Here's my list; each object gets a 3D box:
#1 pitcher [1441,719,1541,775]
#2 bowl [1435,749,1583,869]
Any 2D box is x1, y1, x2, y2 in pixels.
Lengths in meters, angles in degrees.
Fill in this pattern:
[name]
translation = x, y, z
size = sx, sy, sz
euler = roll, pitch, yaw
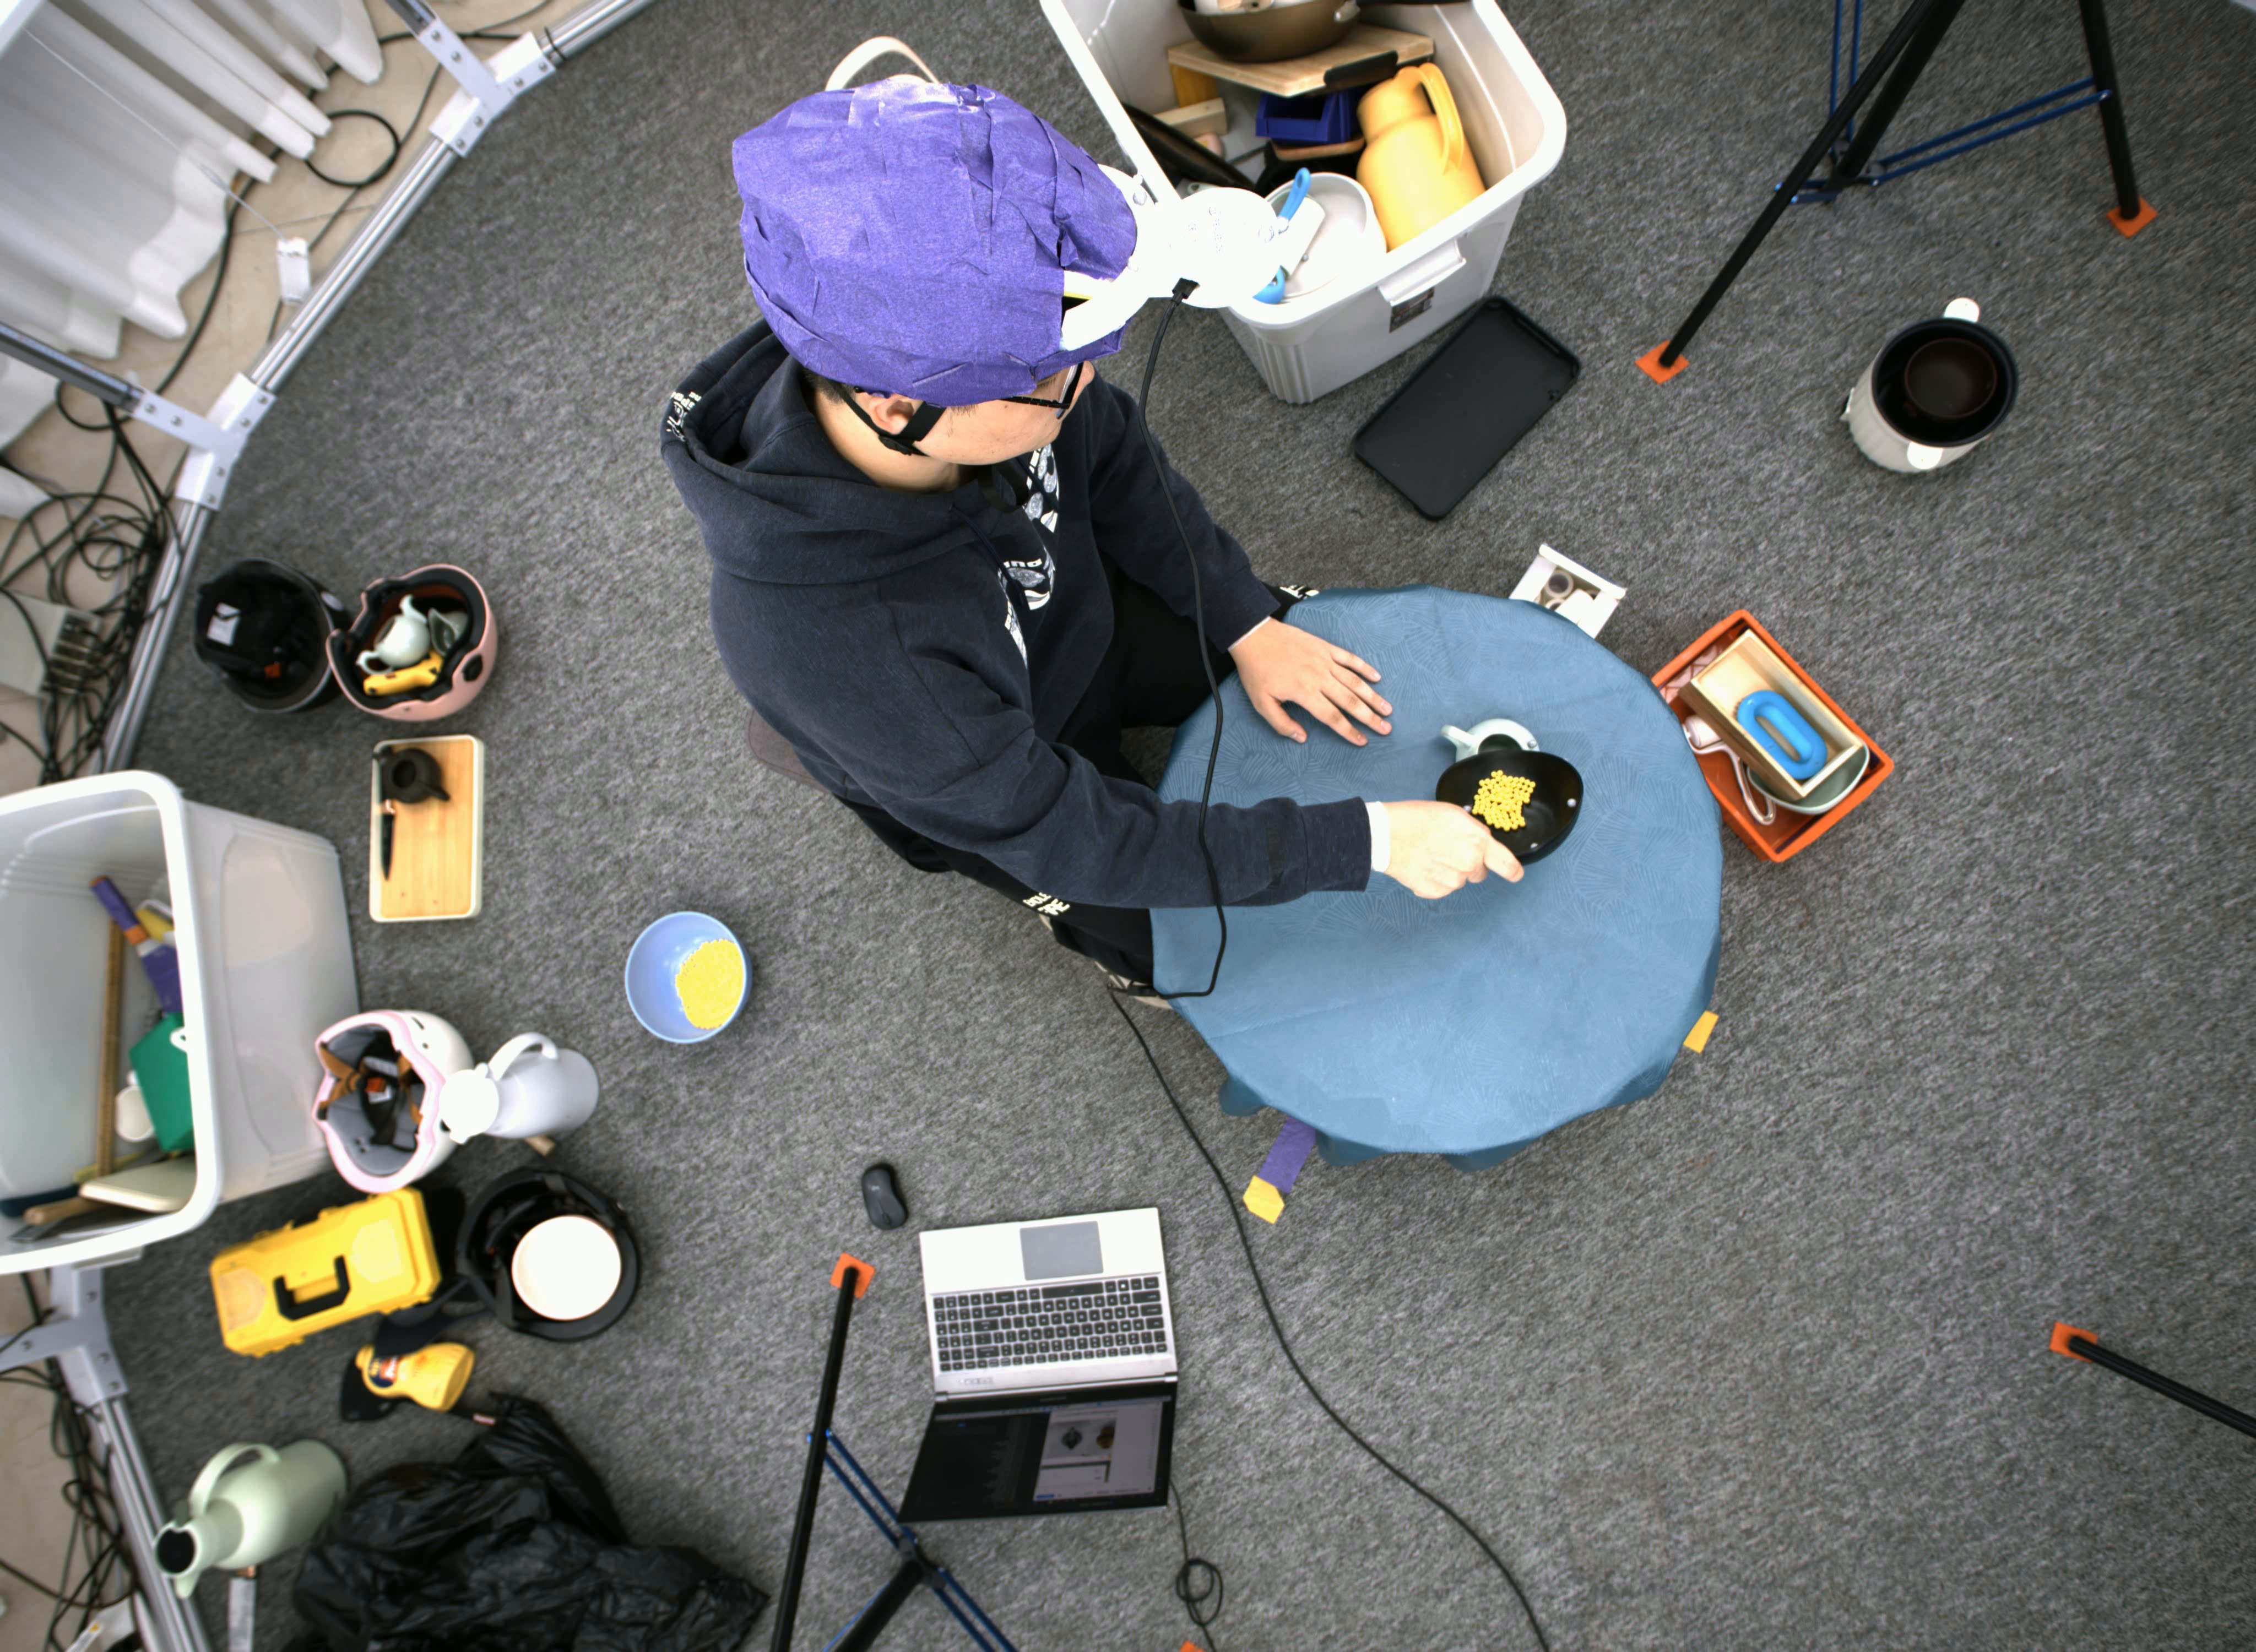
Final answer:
[pitcher]
translation = 0.374, -0.077, 1.421
size = 0.108, 0.060, 0.086
euler = 26, 90, 13
[bowl]
translation = 0.368, -0.010, 1.325
size = 0.138, 0.165, 0.068
euler = -4, 126, 16
